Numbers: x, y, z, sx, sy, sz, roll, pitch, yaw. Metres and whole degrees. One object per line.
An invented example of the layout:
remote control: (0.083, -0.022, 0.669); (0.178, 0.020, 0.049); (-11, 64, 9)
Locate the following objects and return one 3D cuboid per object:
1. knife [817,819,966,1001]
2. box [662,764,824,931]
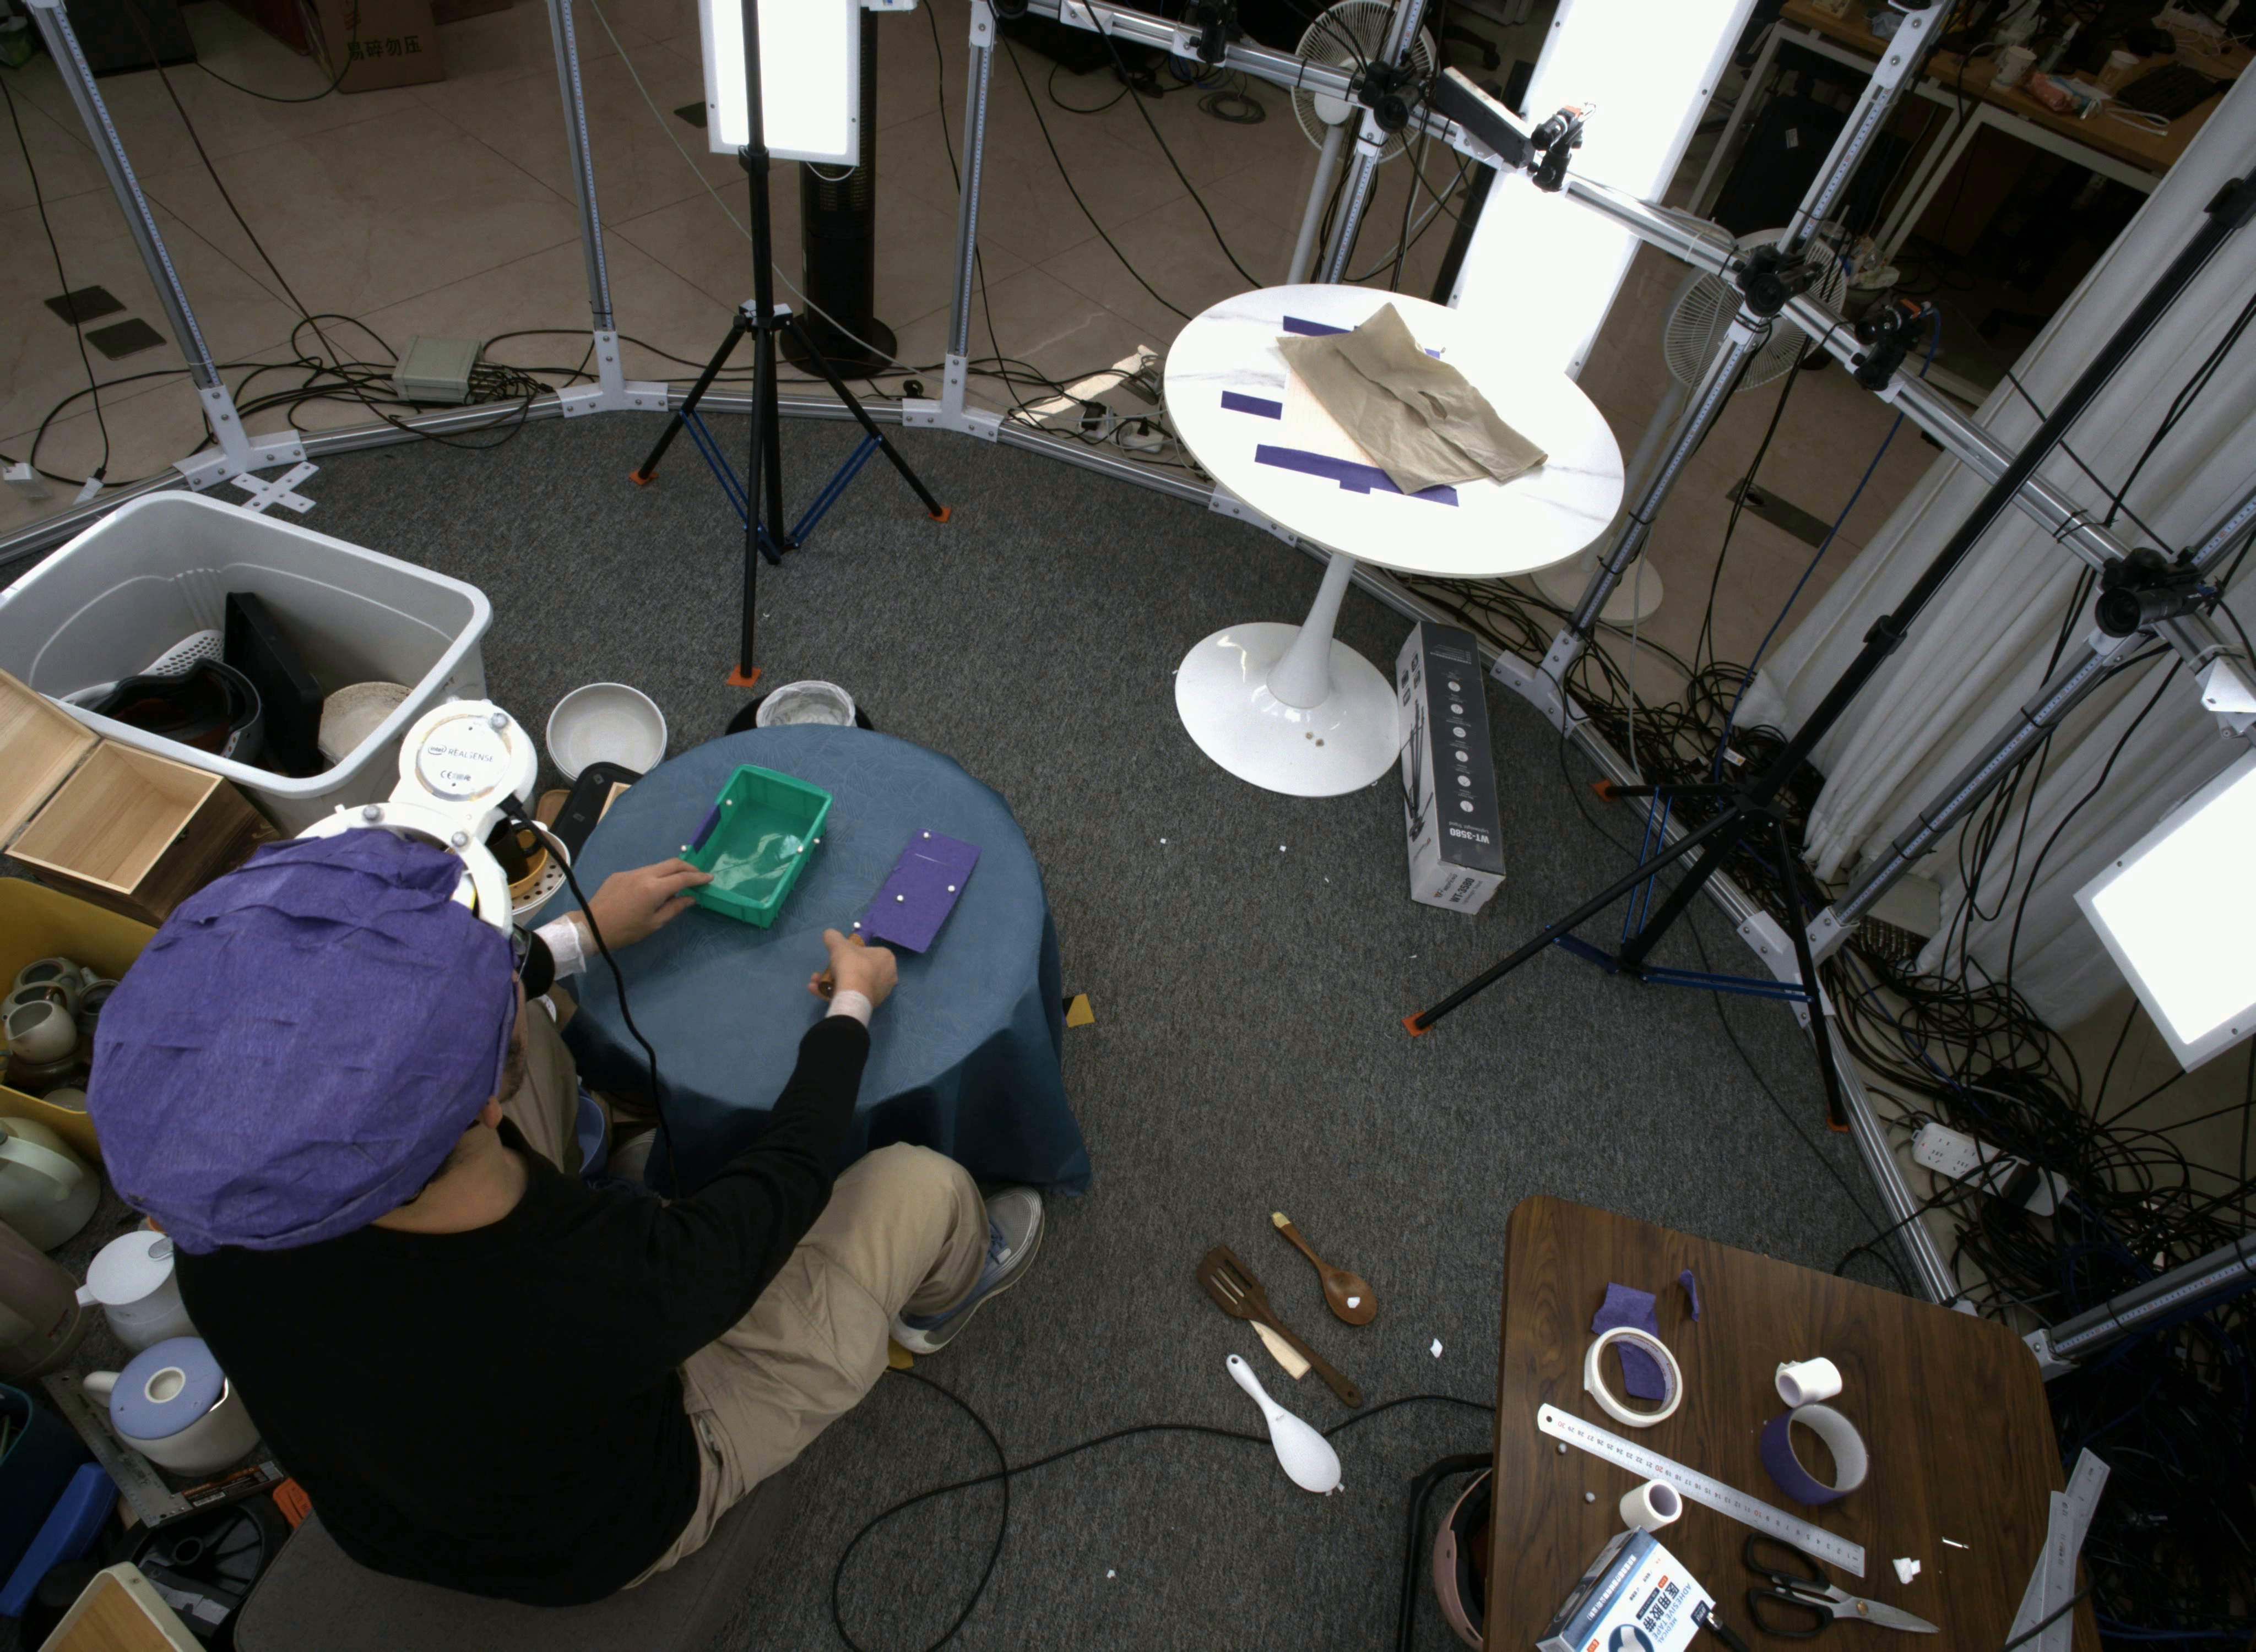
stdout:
knife: (-0.289, 0.103, 1.641); (0.103, 0.033, 0.311); (19, 45, 1)
box: (-0.483, 0.028, 1.642); (0.137, 0.067, 0.208); (17, 53, 1)
